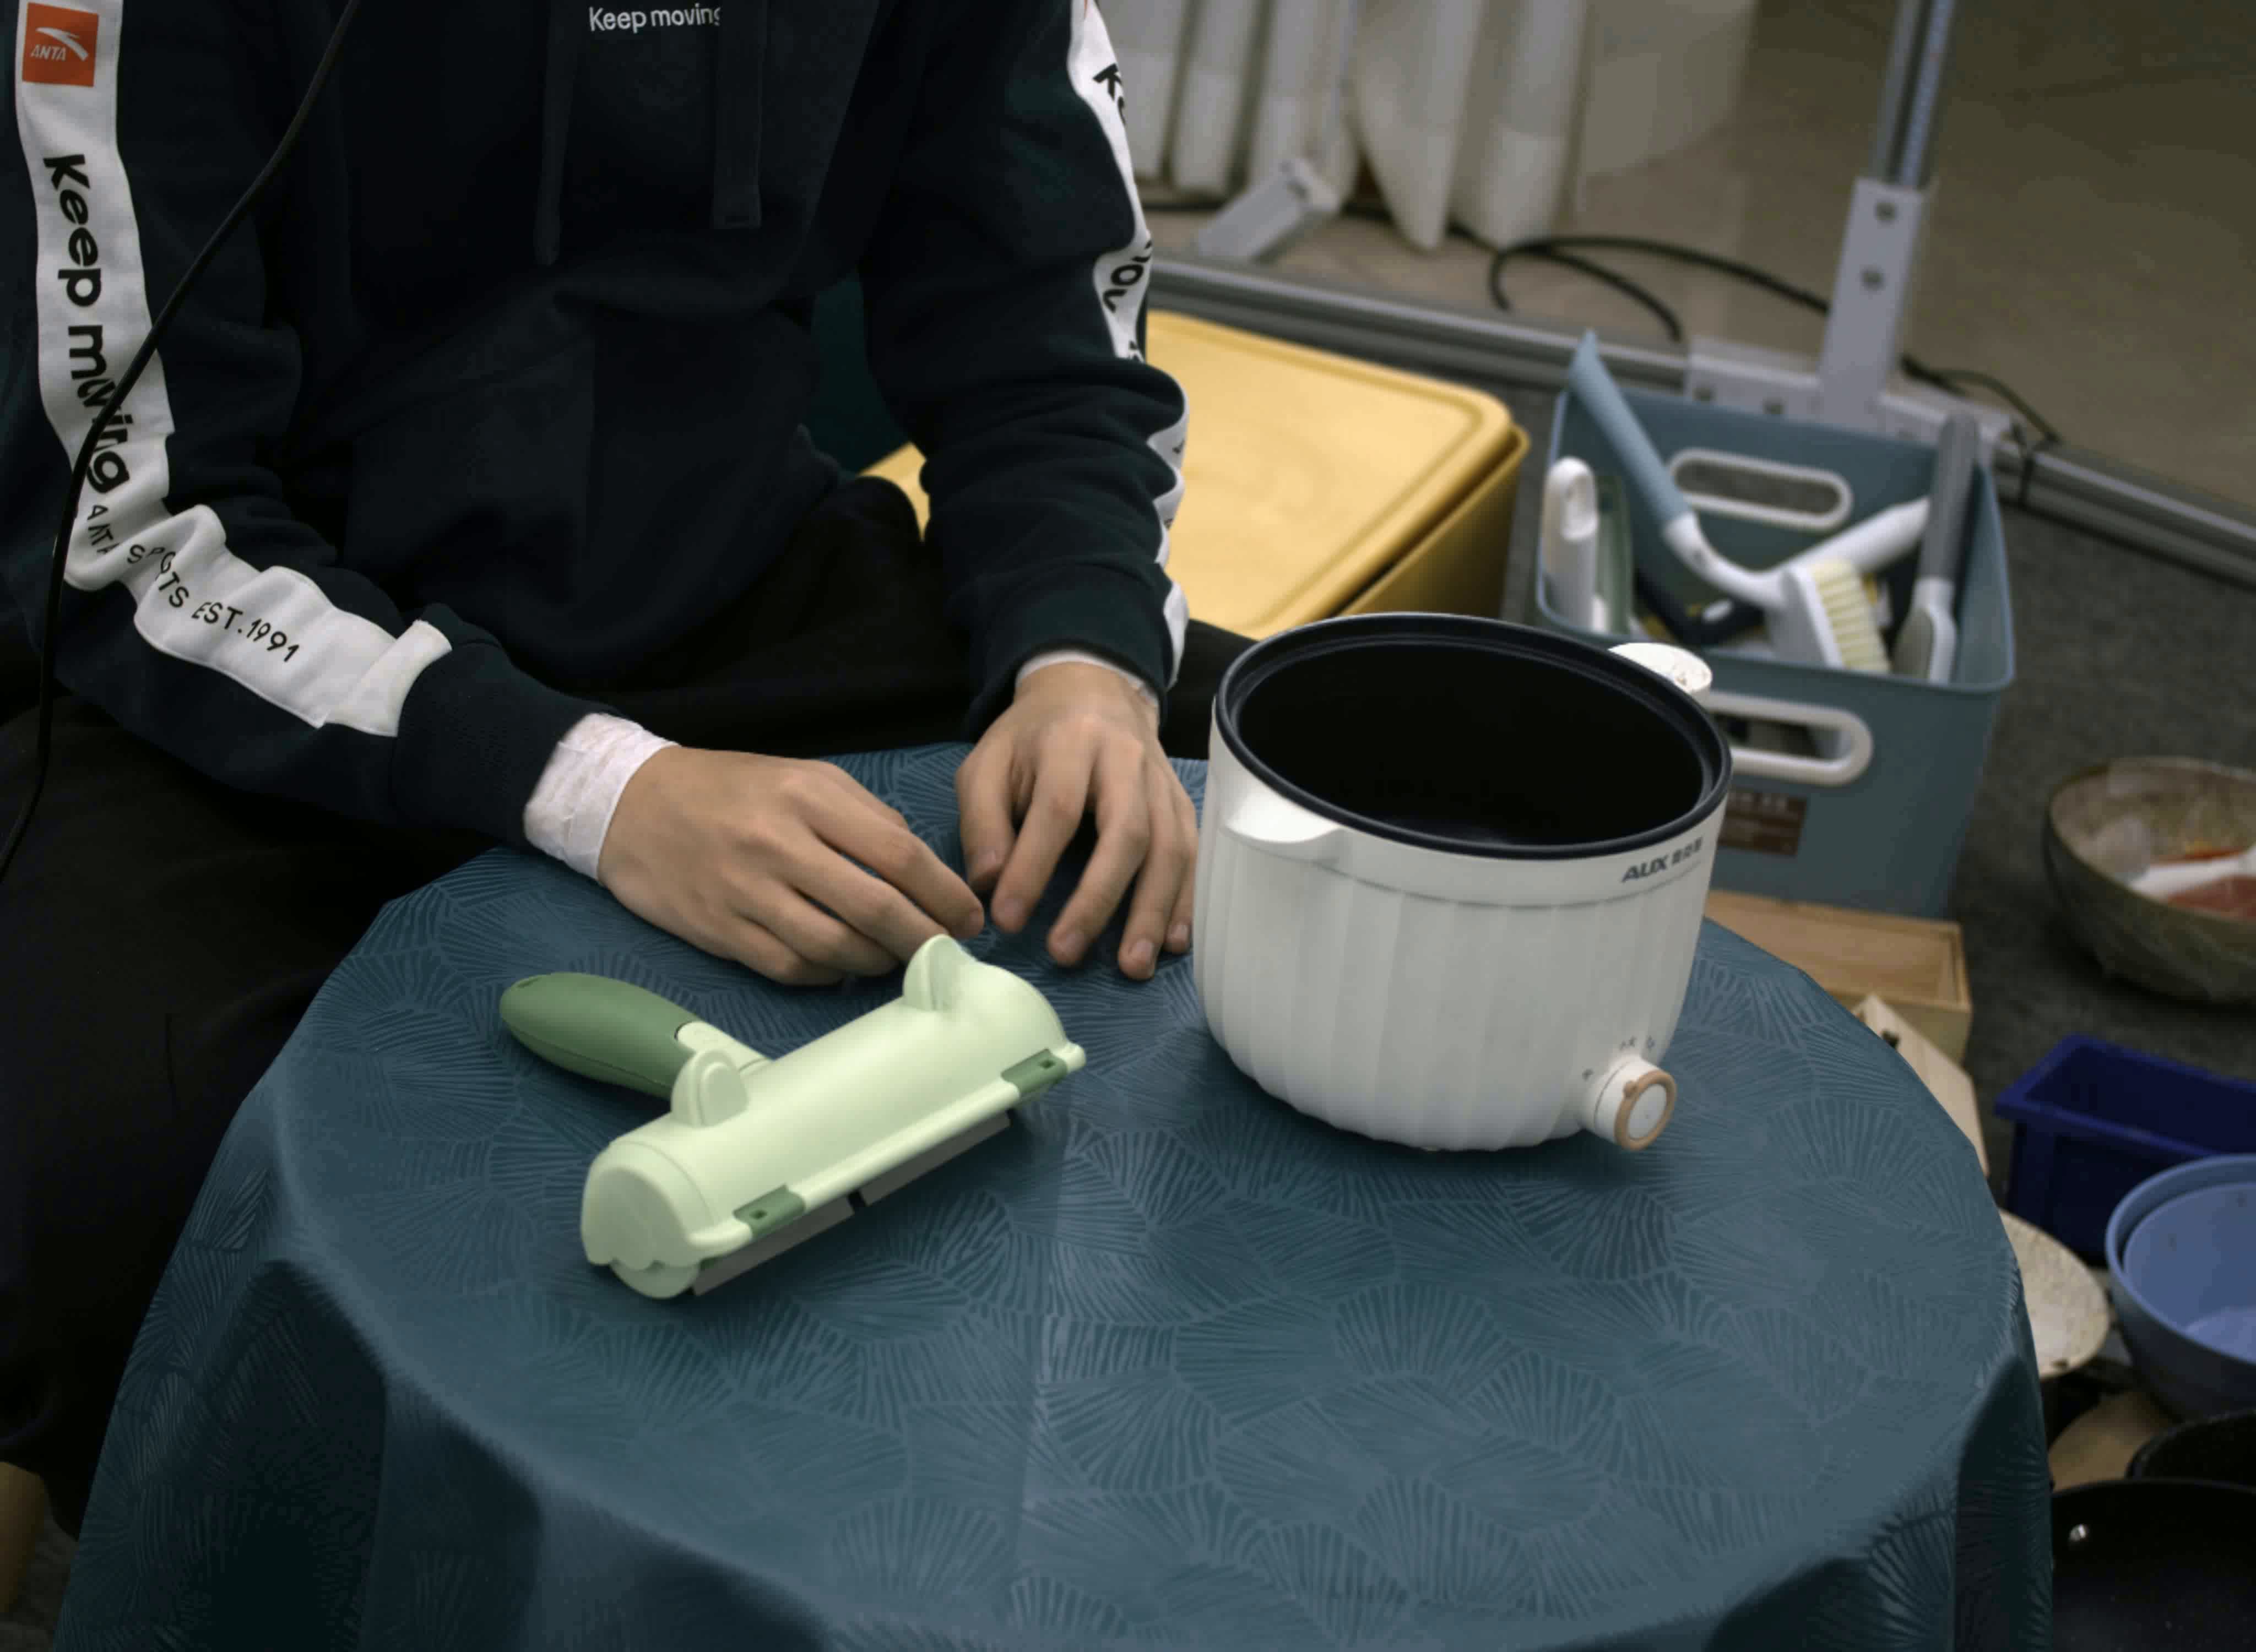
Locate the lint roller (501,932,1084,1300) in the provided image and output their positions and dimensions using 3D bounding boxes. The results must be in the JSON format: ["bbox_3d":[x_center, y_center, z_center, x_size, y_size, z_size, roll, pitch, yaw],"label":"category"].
[{"bbox_3d":[-0.141,0.070,1.791,0.184,0.082,0.198,30,35,29],"label":"lint roller"}]

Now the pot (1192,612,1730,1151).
[{"bbox_3d":[0.117,0.026,1.865,0.192,0.142,0.239,25,33,38],"label":"pot"}]
